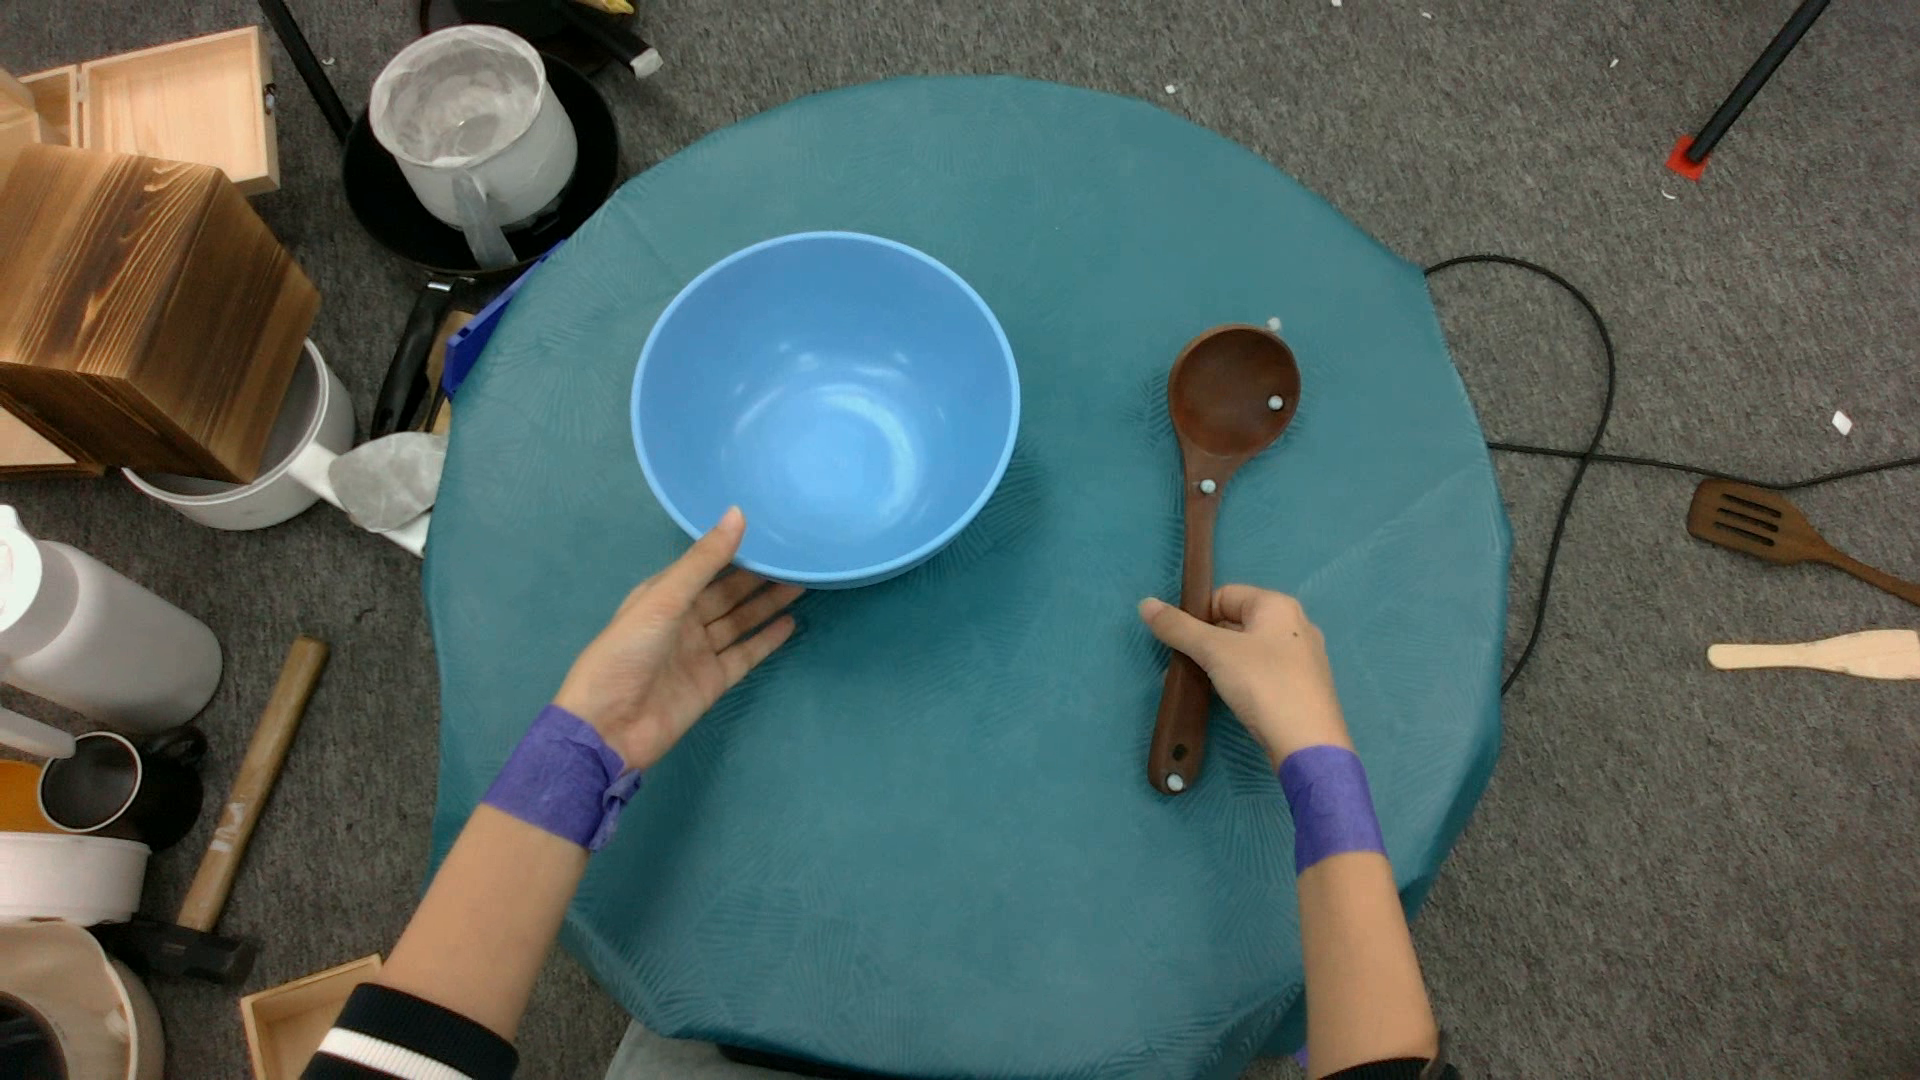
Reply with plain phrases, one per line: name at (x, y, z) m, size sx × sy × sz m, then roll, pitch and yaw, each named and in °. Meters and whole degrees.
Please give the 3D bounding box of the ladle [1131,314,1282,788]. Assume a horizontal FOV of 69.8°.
ladle at (0.124, -0.001, 0.732) m, size 0.076 × 0.065 × 0.261 m, roll 14°, pitch 66°, yaw -6°

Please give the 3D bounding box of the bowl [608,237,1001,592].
bowl at (-0.082, -0.053, 0.732) m, size 0.196 × 0.095 × 0.197 m, roll 3°, pitch 66°, yaw -6°
